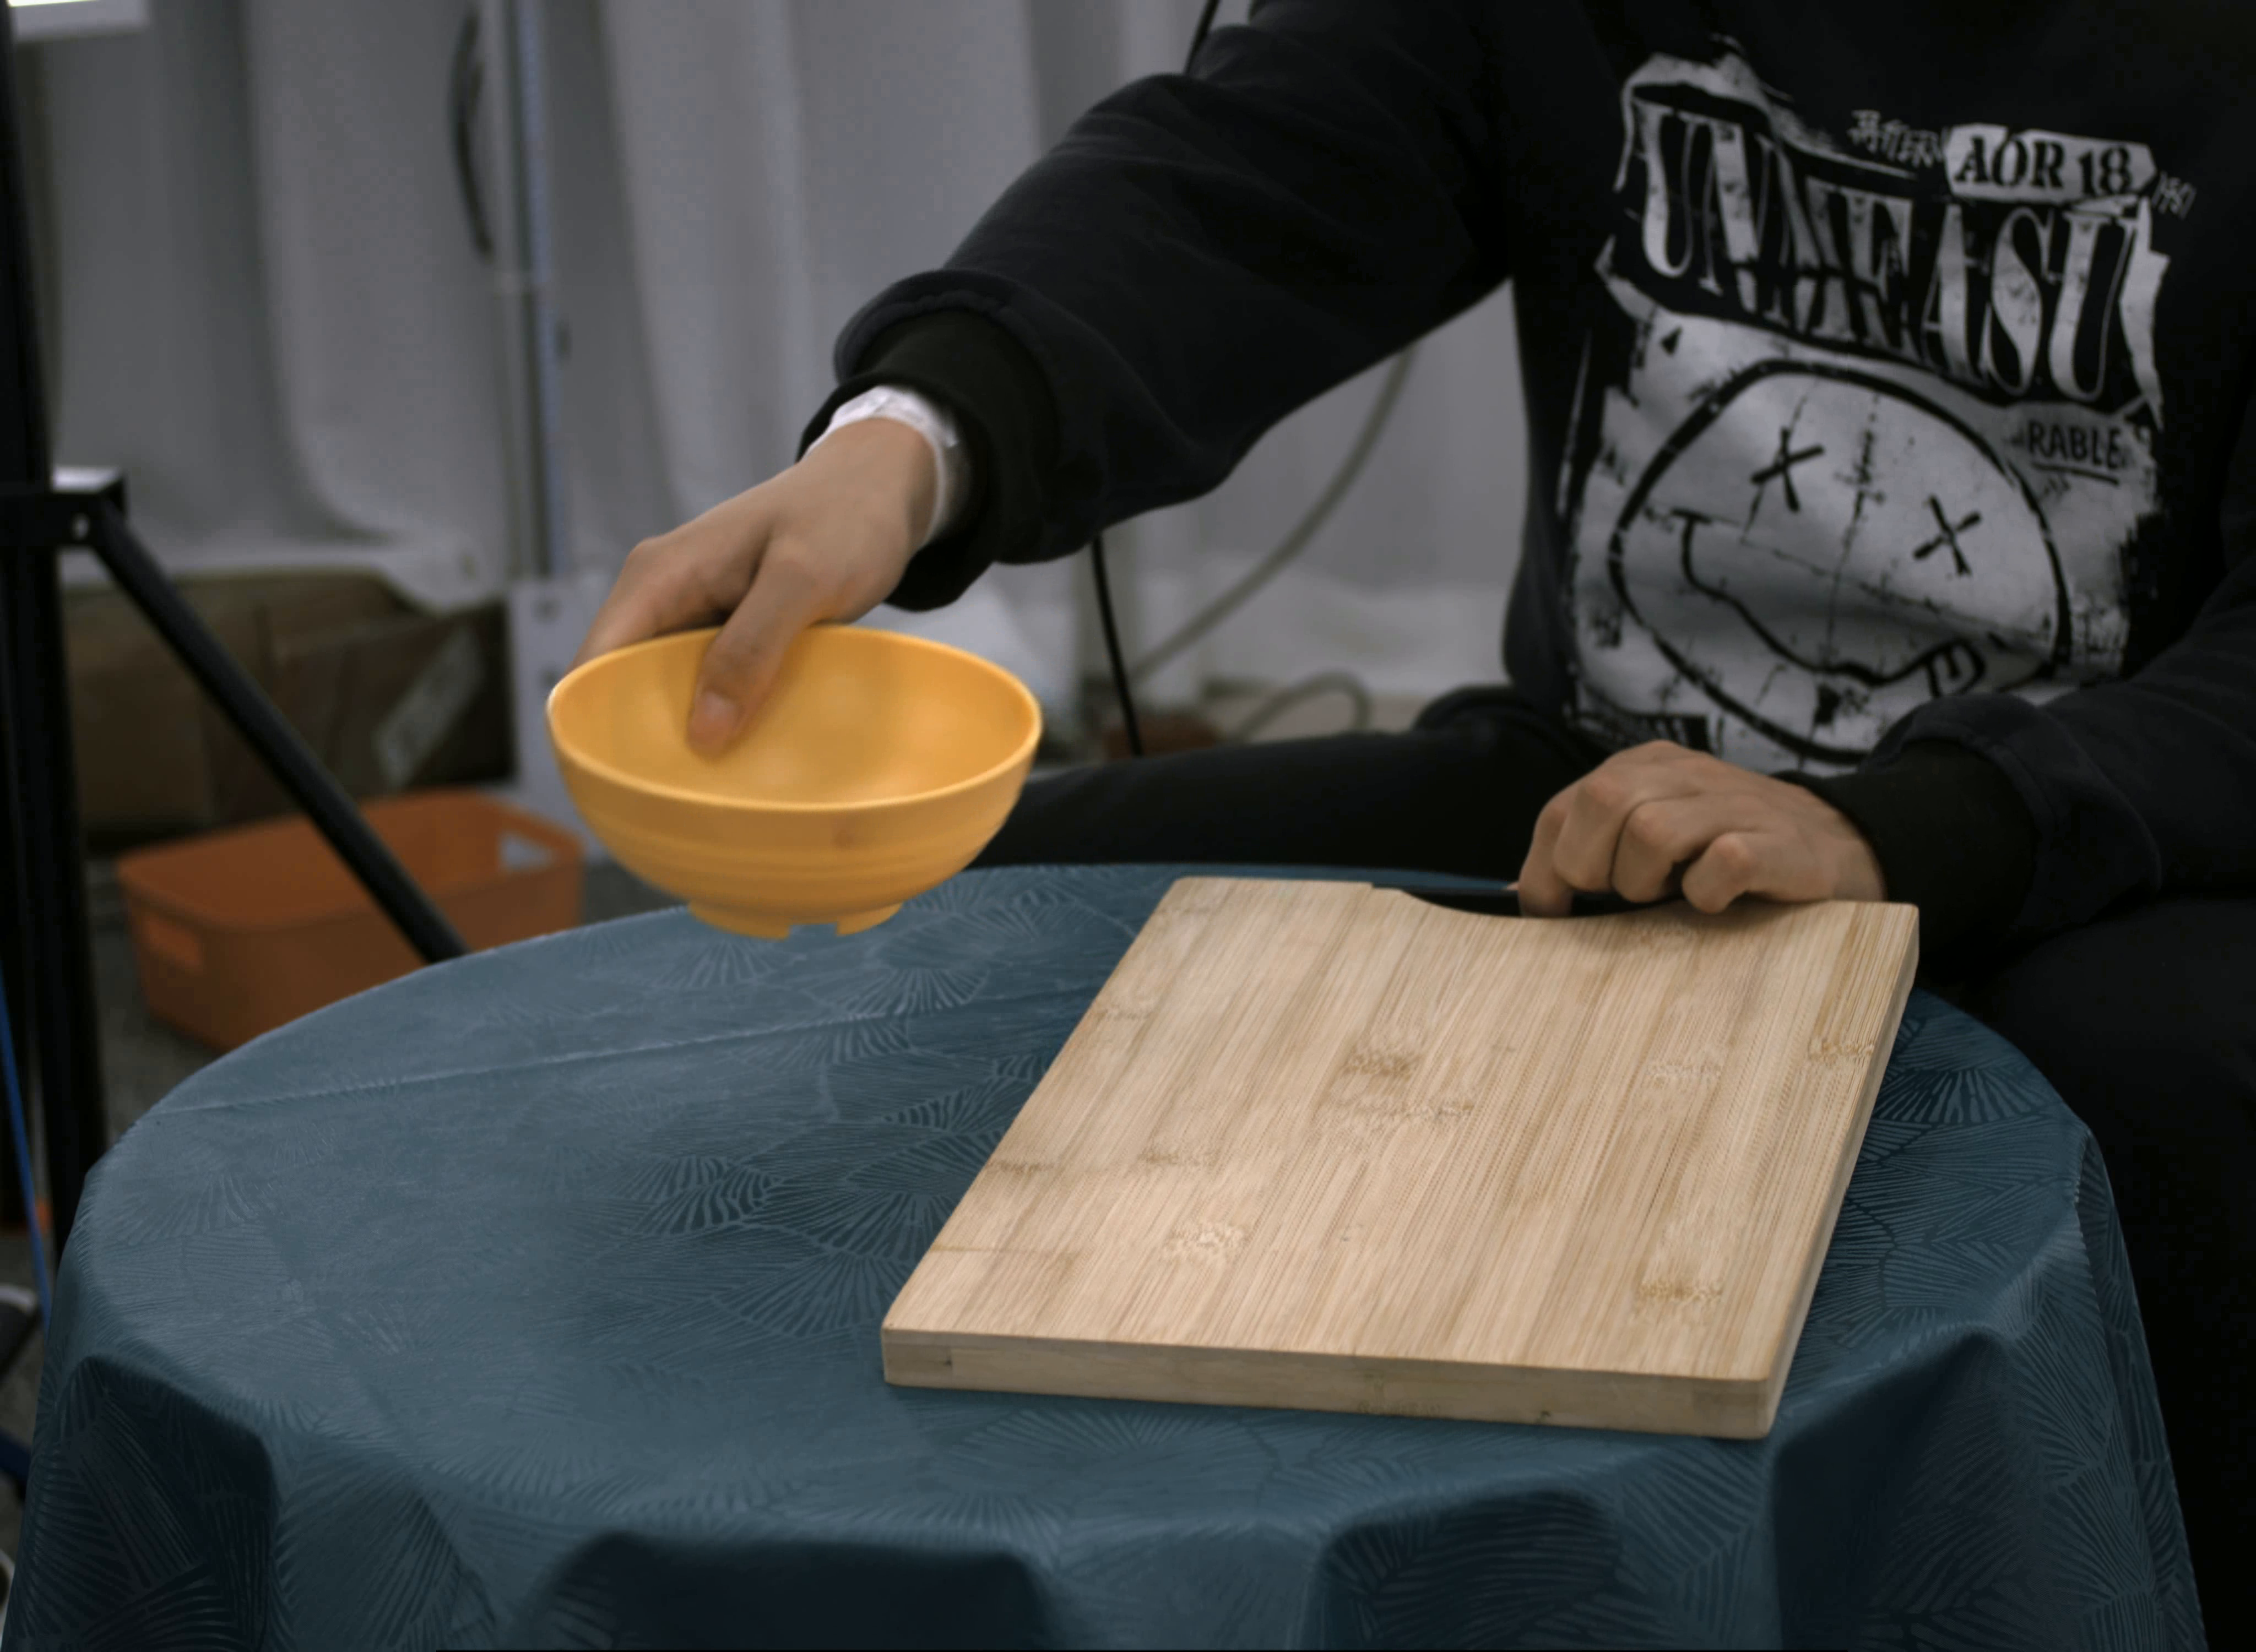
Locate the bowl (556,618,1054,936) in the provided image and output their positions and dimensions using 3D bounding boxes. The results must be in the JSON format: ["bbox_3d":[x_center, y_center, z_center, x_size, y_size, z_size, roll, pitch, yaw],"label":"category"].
[{"bbox_3d":[-0.095,-0.008,1.547,0.144,0.060,0.146,3,21,-3],"label":"bowl"}]

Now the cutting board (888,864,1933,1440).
[{"bbox_3d":[0.094,0.086,1.541,0.252,0.023,0.347,2,21,14],"label":"cutting board"}]
